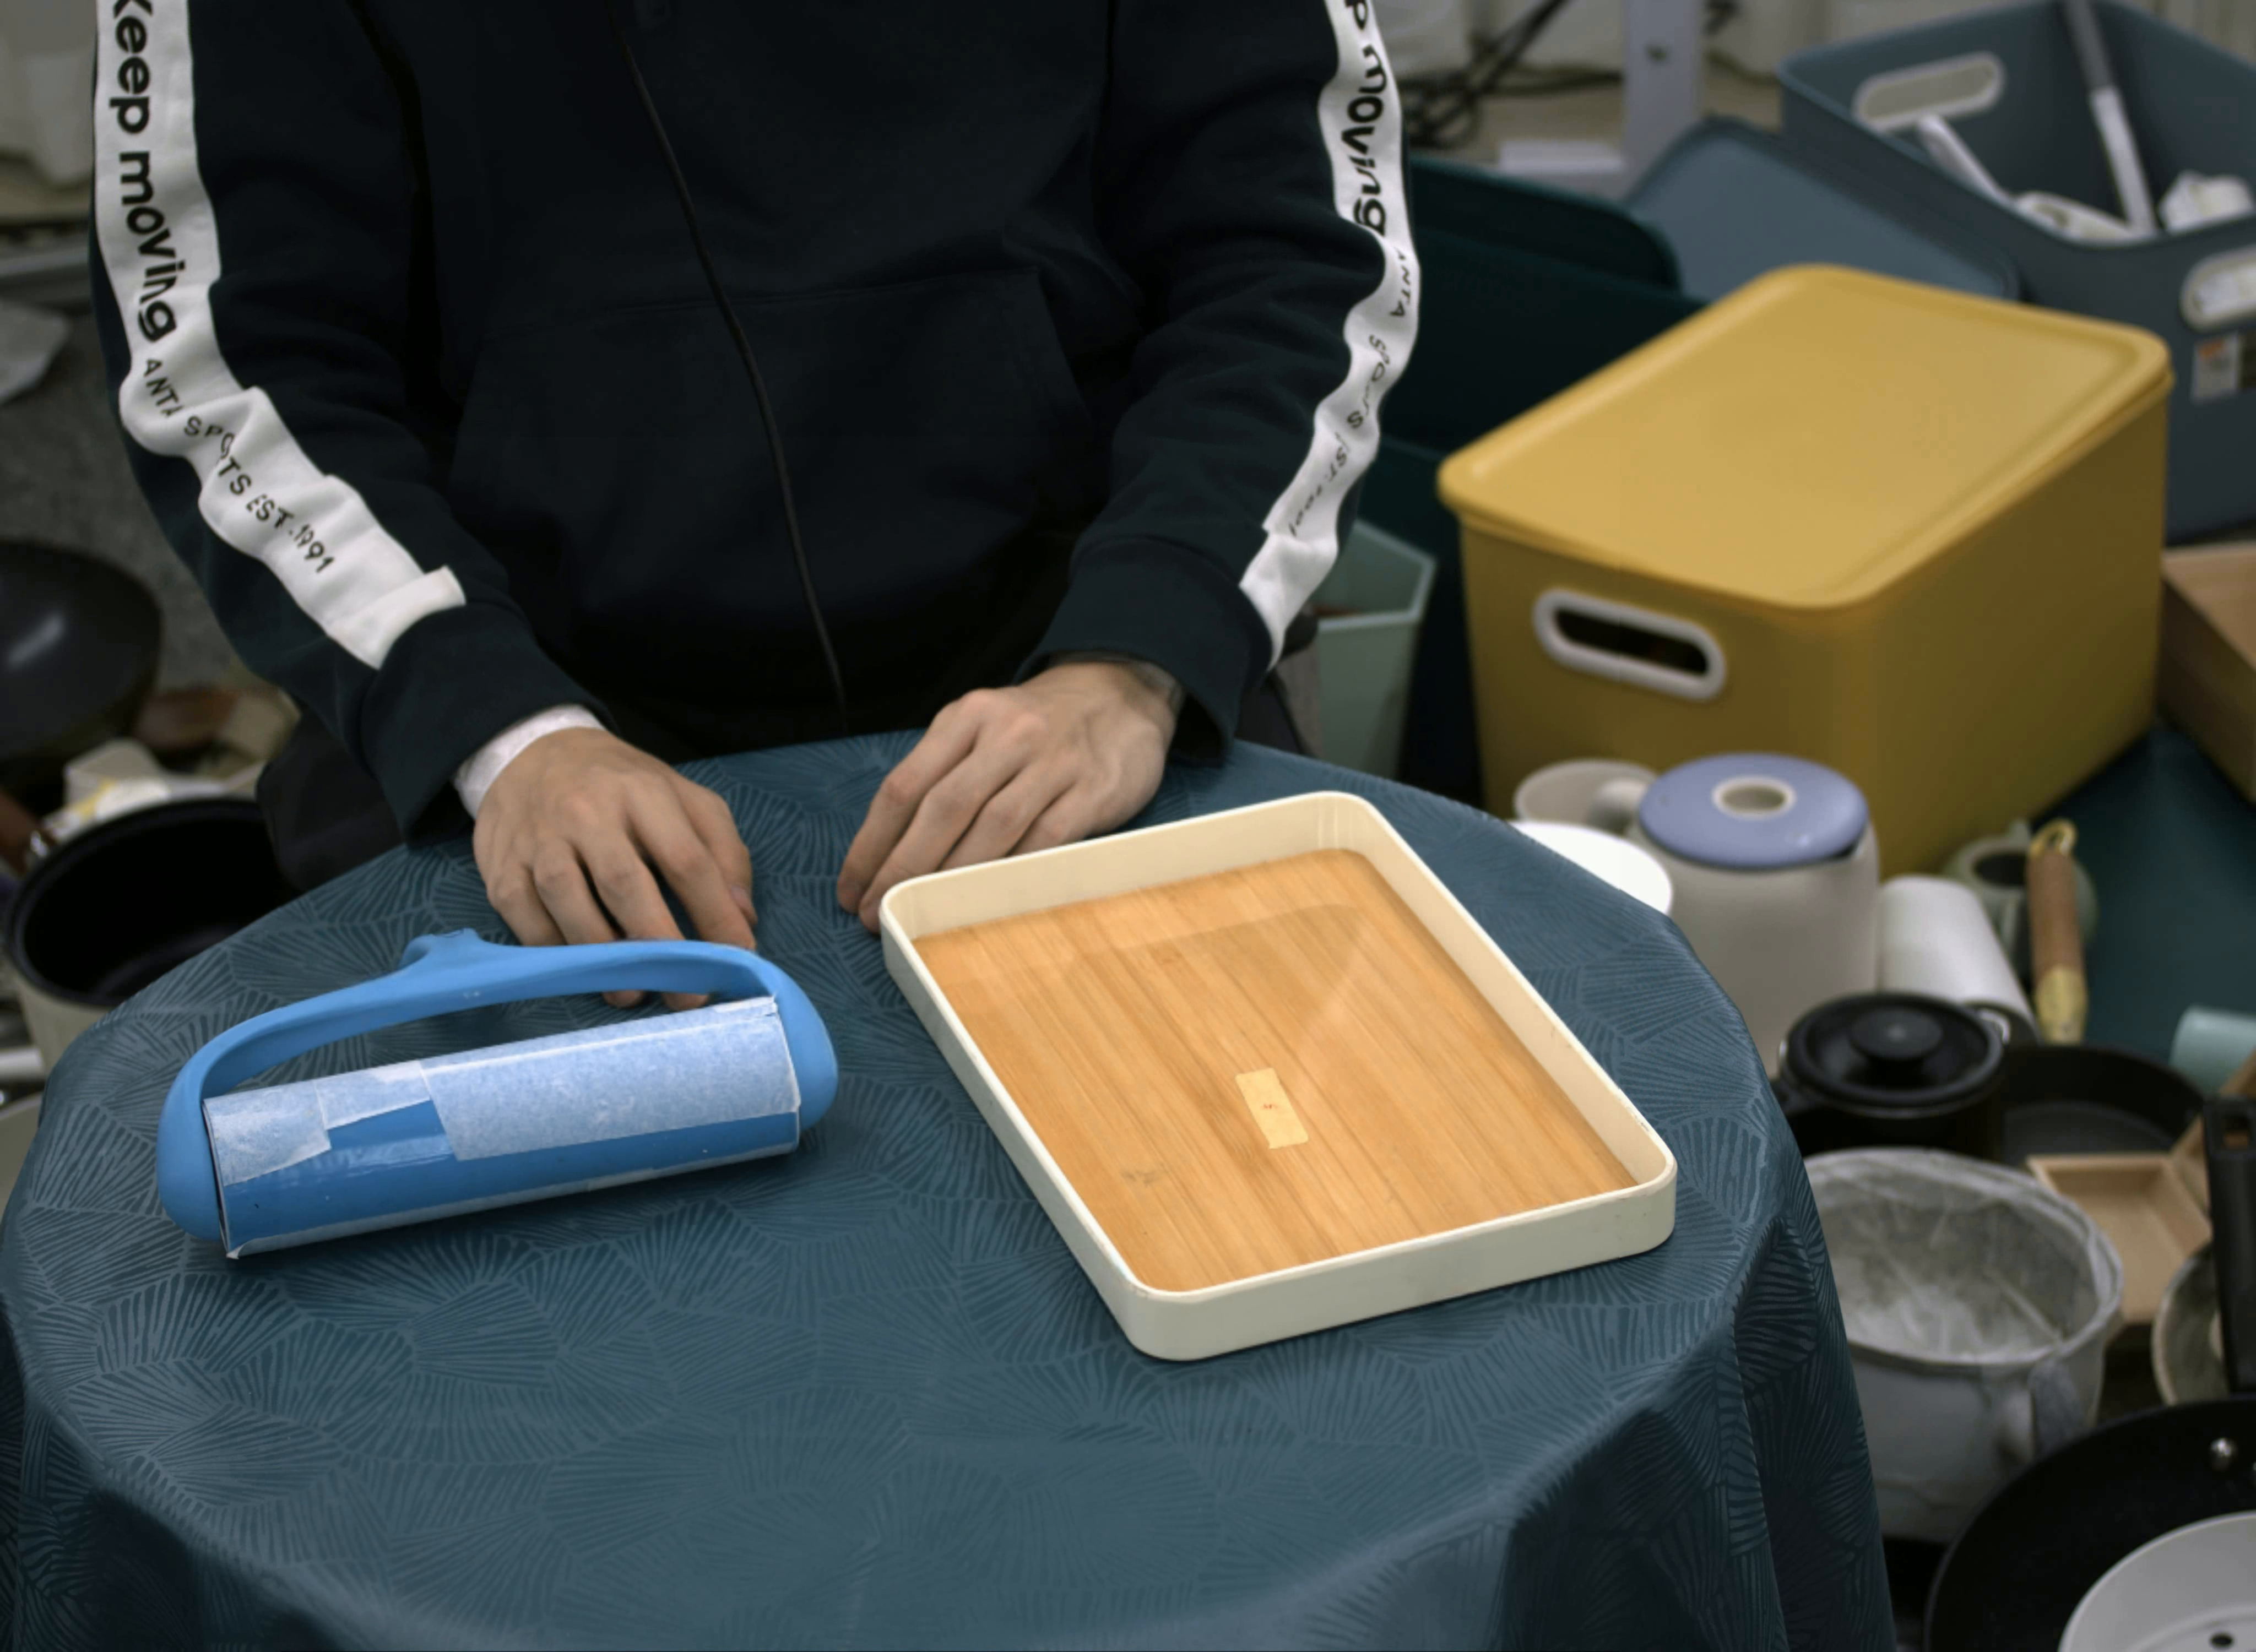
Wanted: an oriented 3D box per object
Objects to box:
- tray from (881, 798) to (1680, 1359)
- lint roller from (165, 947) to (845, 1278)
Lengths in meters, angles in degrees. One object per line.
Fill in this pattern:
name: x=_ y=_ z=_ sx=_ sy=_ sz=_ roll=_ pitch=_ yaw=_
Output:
tray: x=0.045 y=0.080 z=1.908 sx=0.192 sy=0.027 sz=0.303 roll=-11 pitch=29 yaw=-16
lint roller: x=-0.225 y=0.076 z=1.911 sx=0.229 sy=0.067 sz=0.182 roll=-14 pitch=30 yaw=-16
